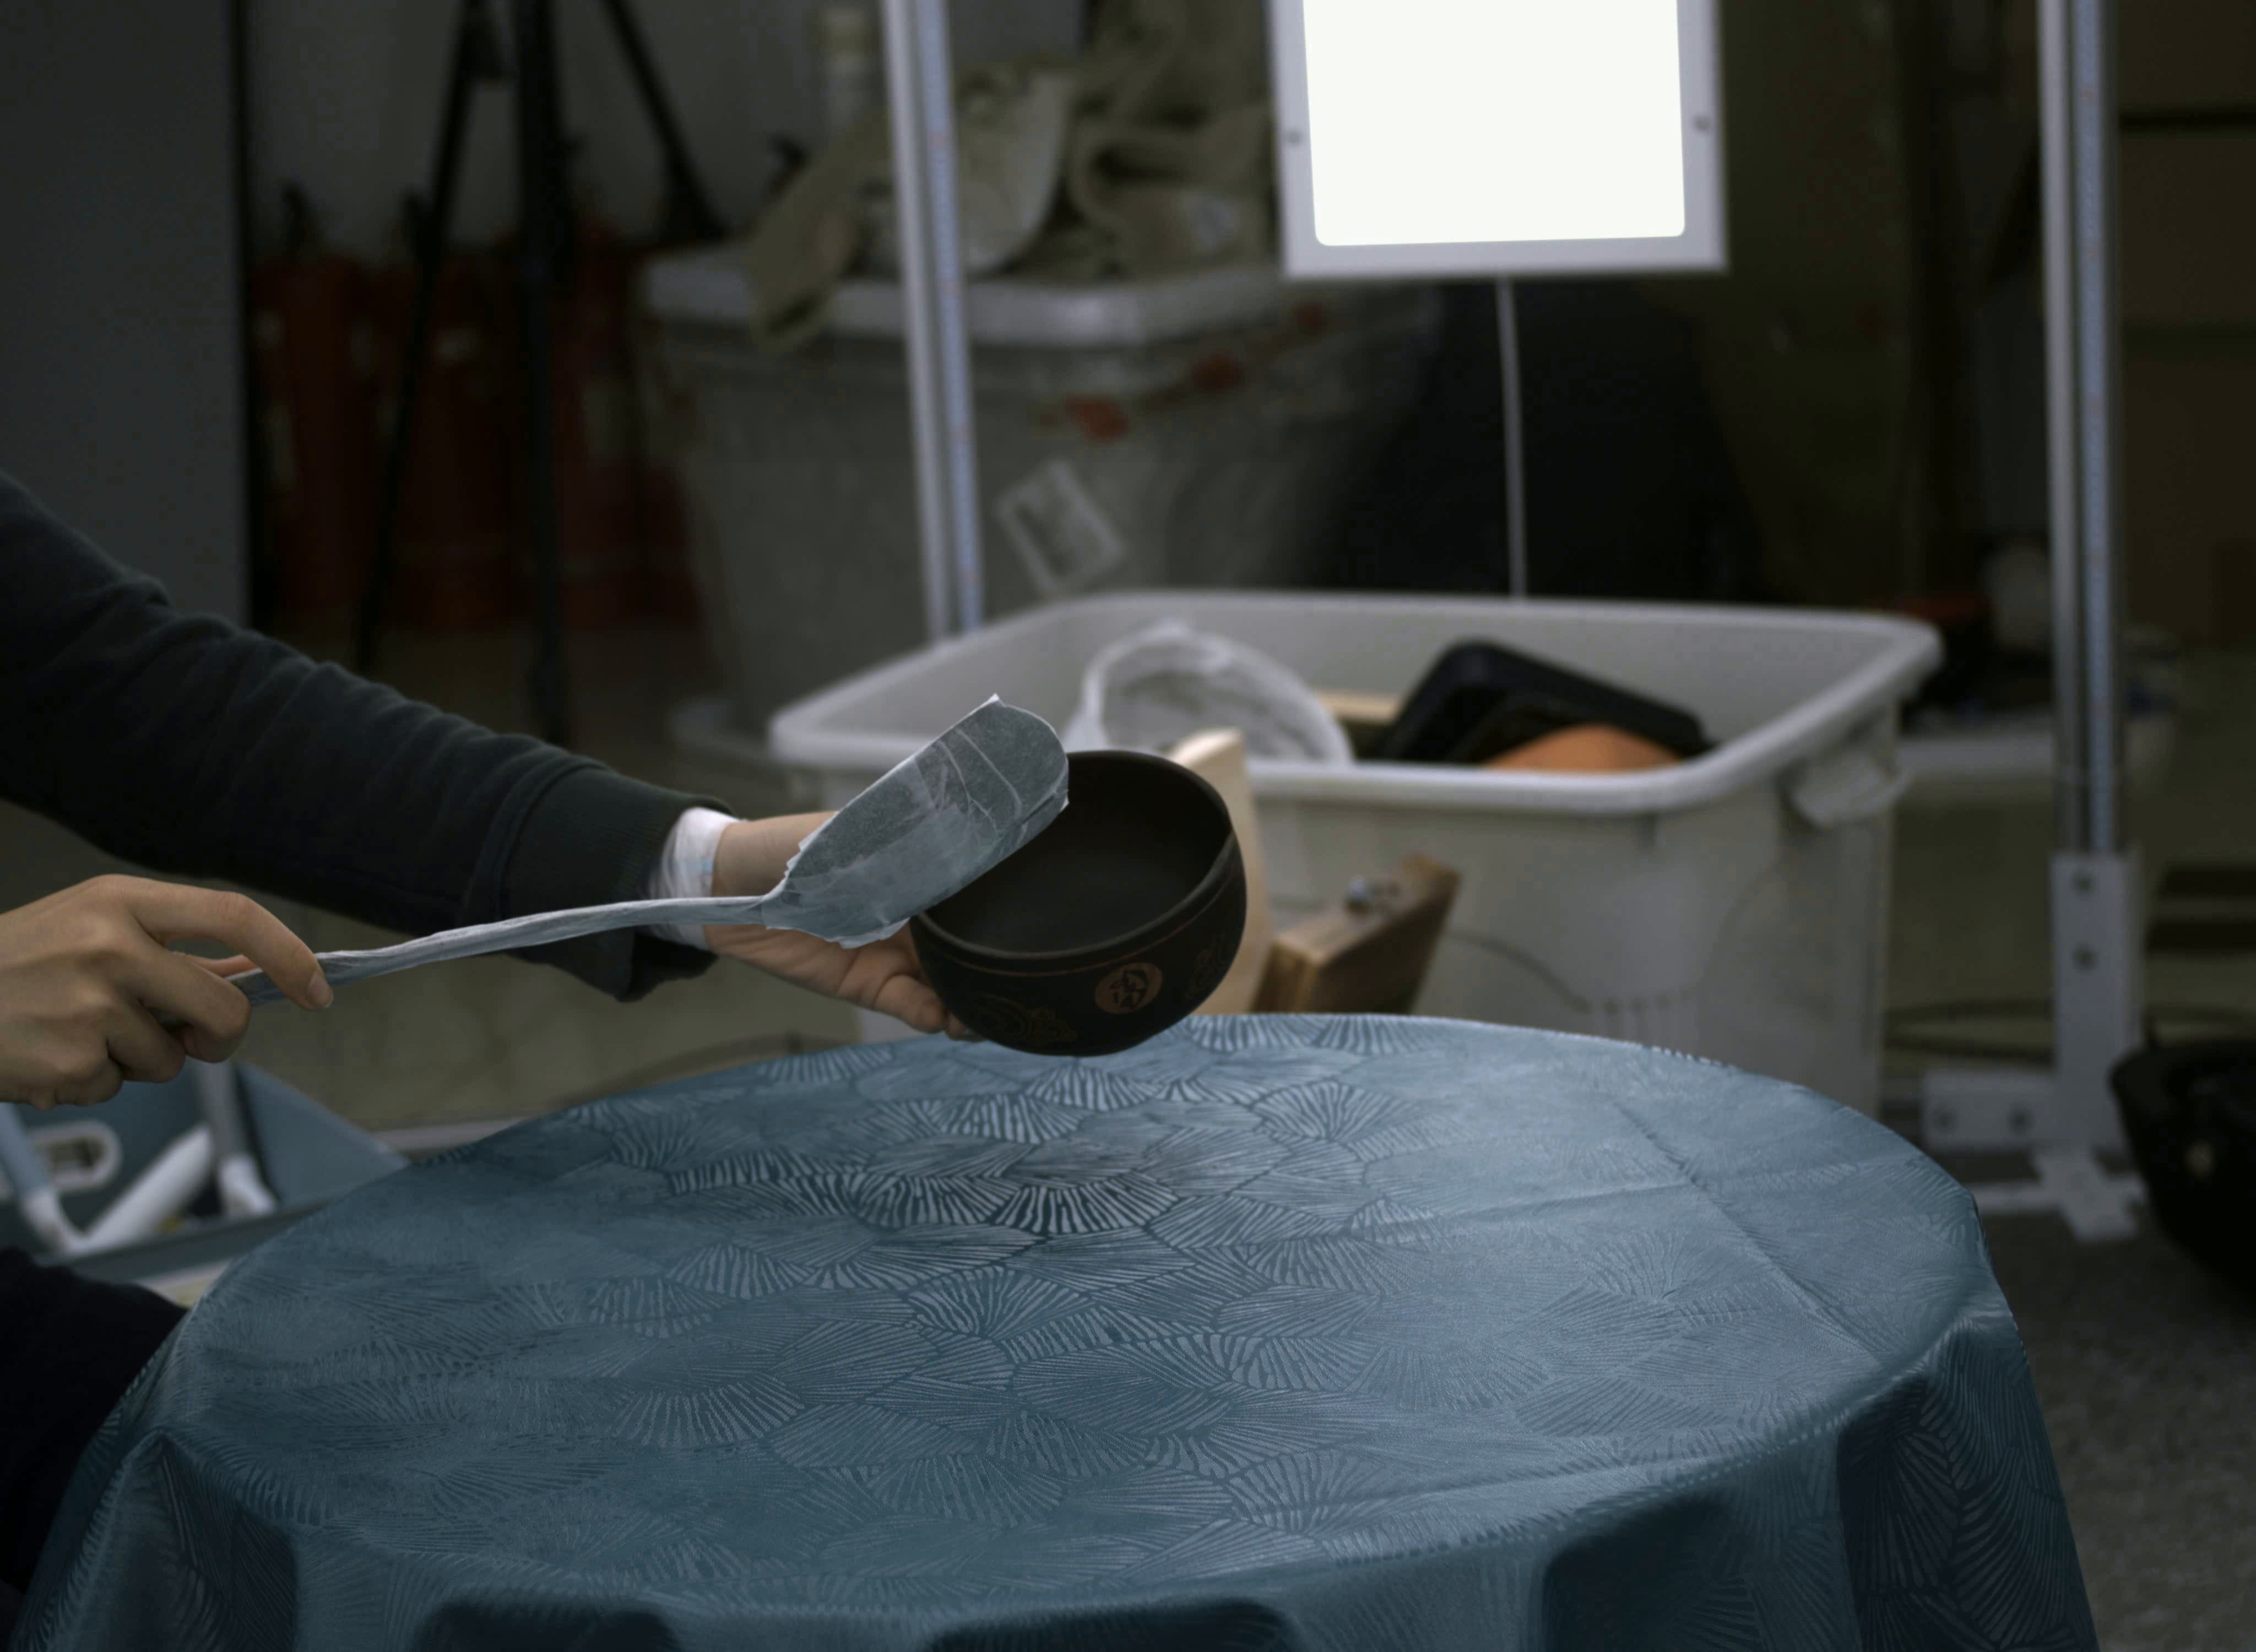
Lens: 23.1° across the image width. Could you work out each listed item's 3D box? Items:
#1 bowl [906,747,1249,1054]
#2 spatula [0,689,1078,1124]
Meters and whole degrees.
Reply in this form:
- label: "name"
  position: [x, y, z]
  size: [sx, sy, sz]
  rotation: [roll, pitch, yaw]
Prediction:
- label: "bowl"
  position: [-0.014, 0.034, 1.887]
  size: [0.118, 0.070, 0.117]
  rotation: [-11, 34, 6]
- label: "spatula"
  position: [-0.191, 0.031, 1.752]
  size: [0.366, 0.045, 0.098]
  rotation: [-13, -25, 6]
